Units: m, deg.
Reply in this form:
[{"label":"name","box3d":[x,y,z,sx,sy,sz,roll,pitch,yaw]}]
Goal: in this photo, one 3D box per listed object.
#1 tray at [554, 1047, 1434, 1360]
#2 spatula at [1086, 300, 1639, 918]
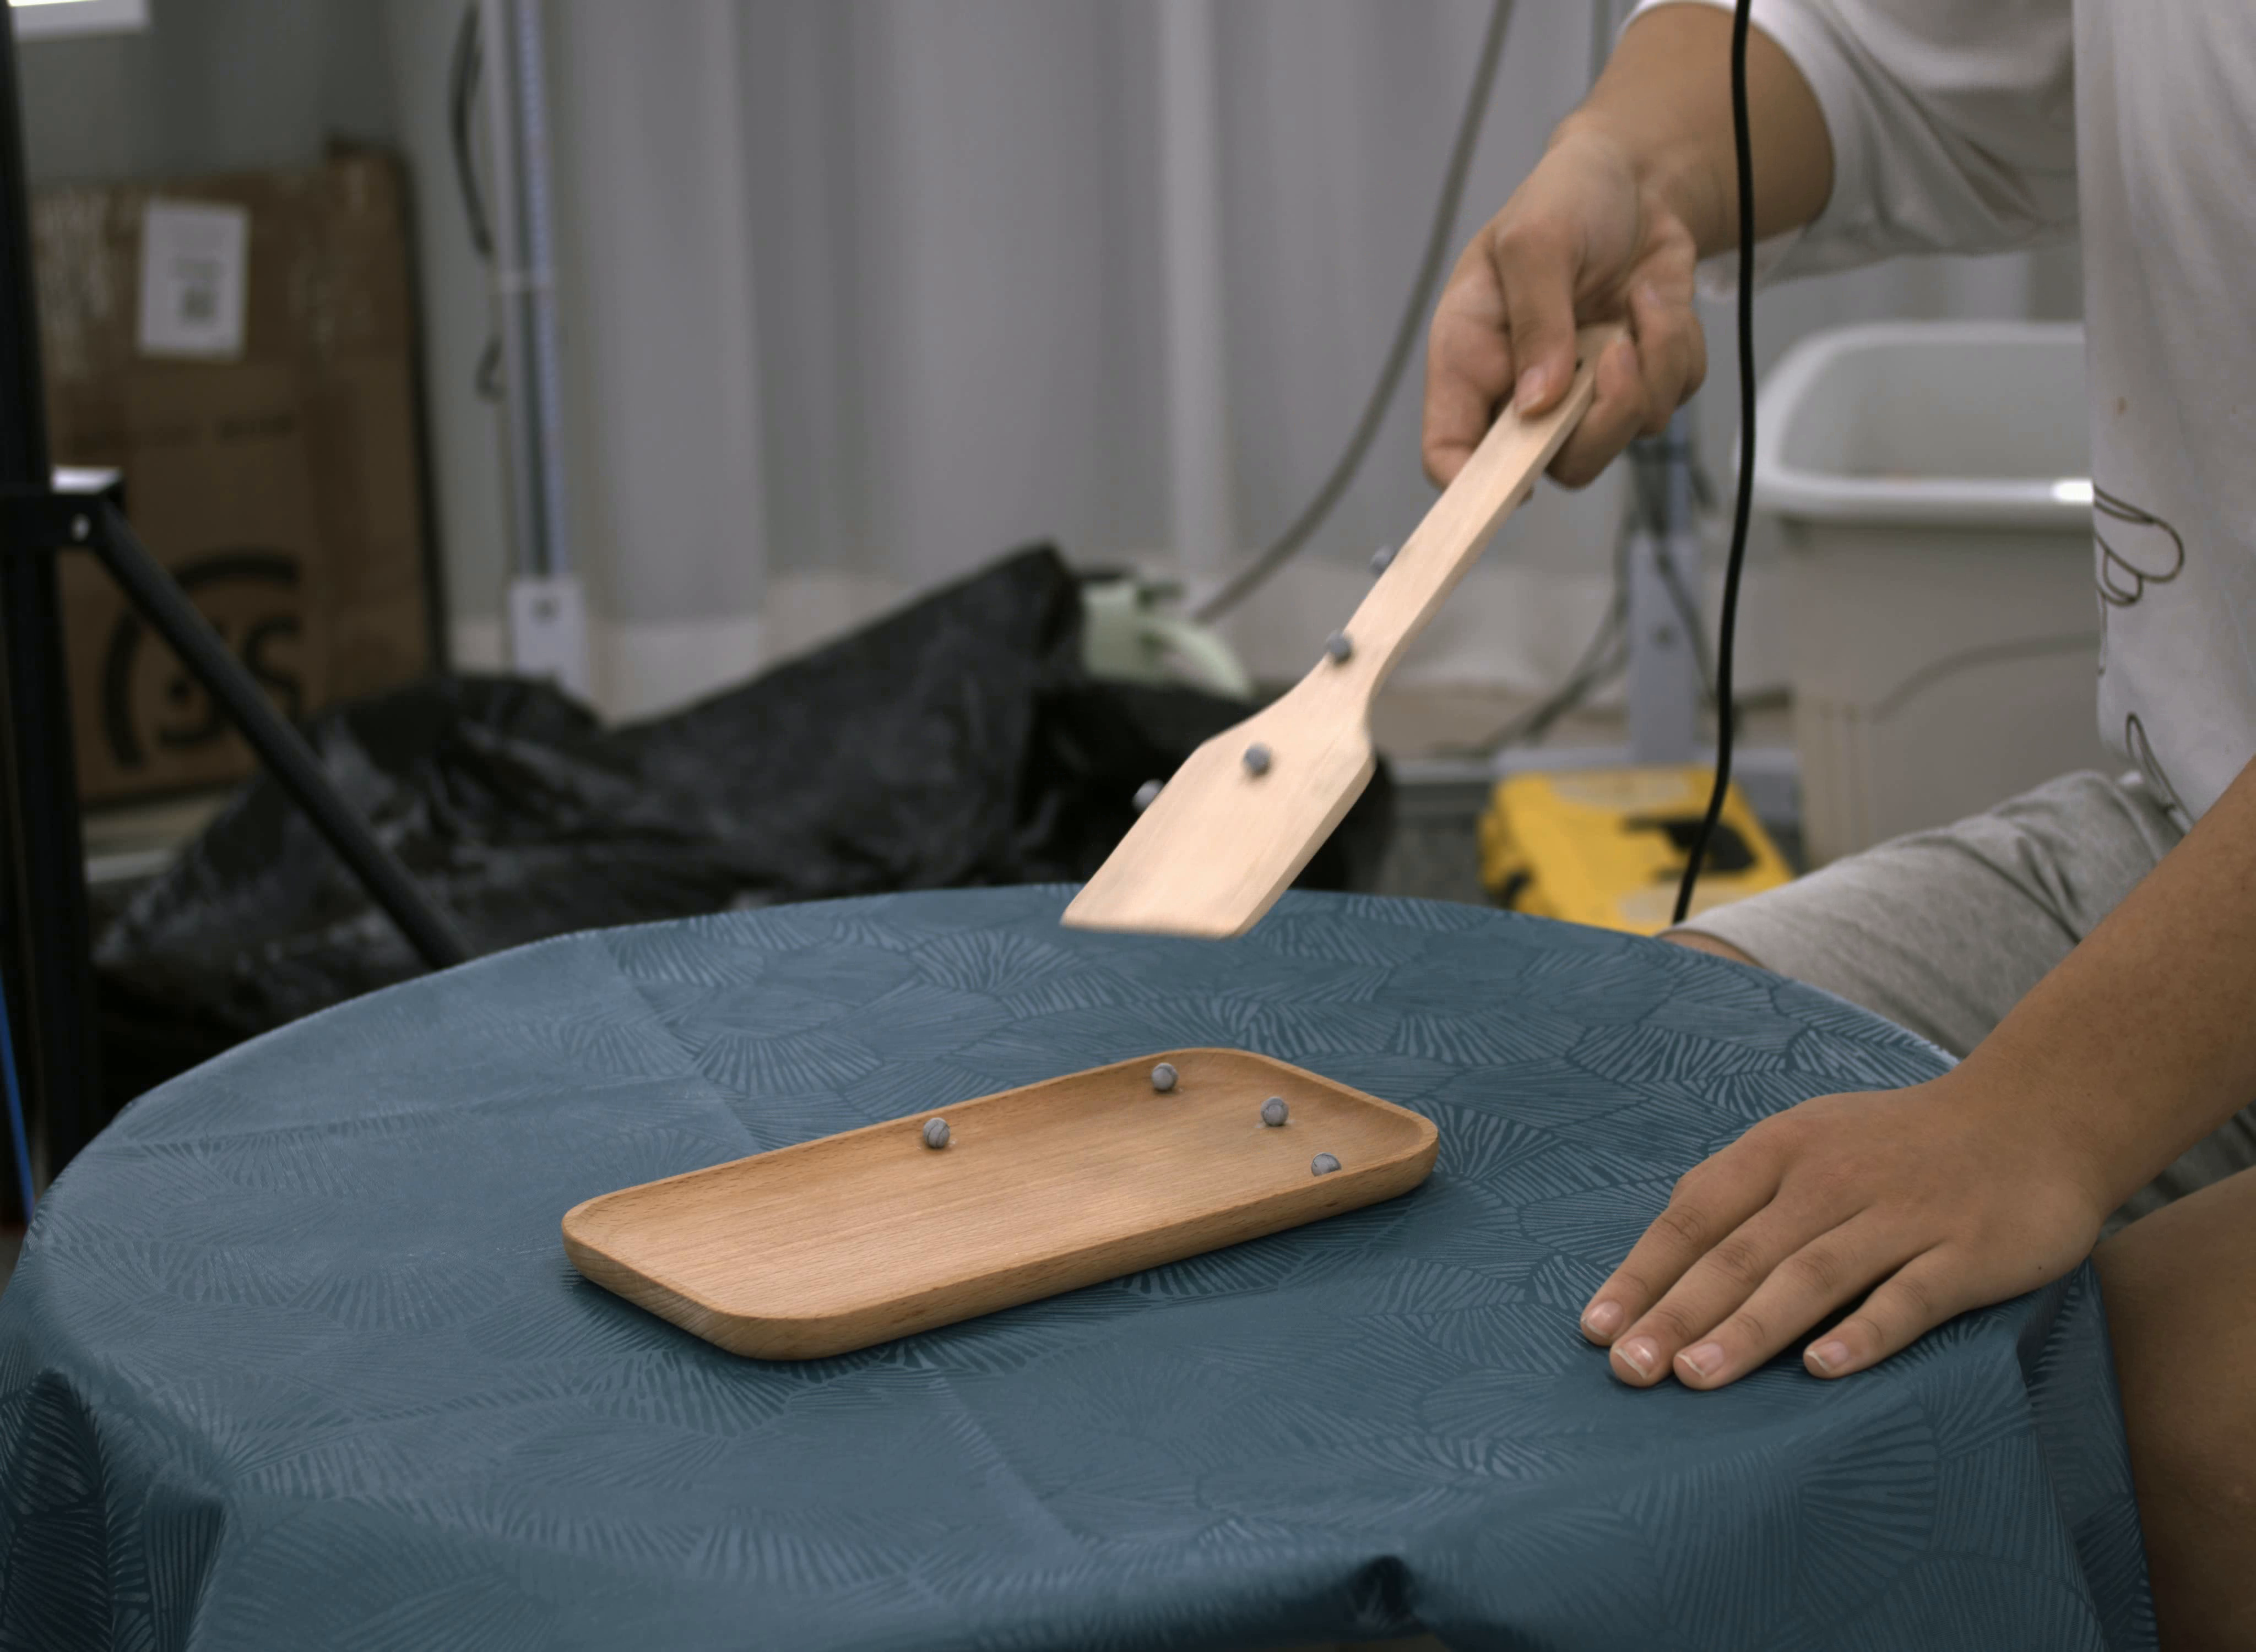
[{"label":"tray","box3d":[-0.036,0.107,1.538,0.245,0.023,0.133,-13,17,-32]},{"label":"spatula","box3d":[0.084,-0.070,1.642,0.074,0.010,0.291,2,44,41]}]
